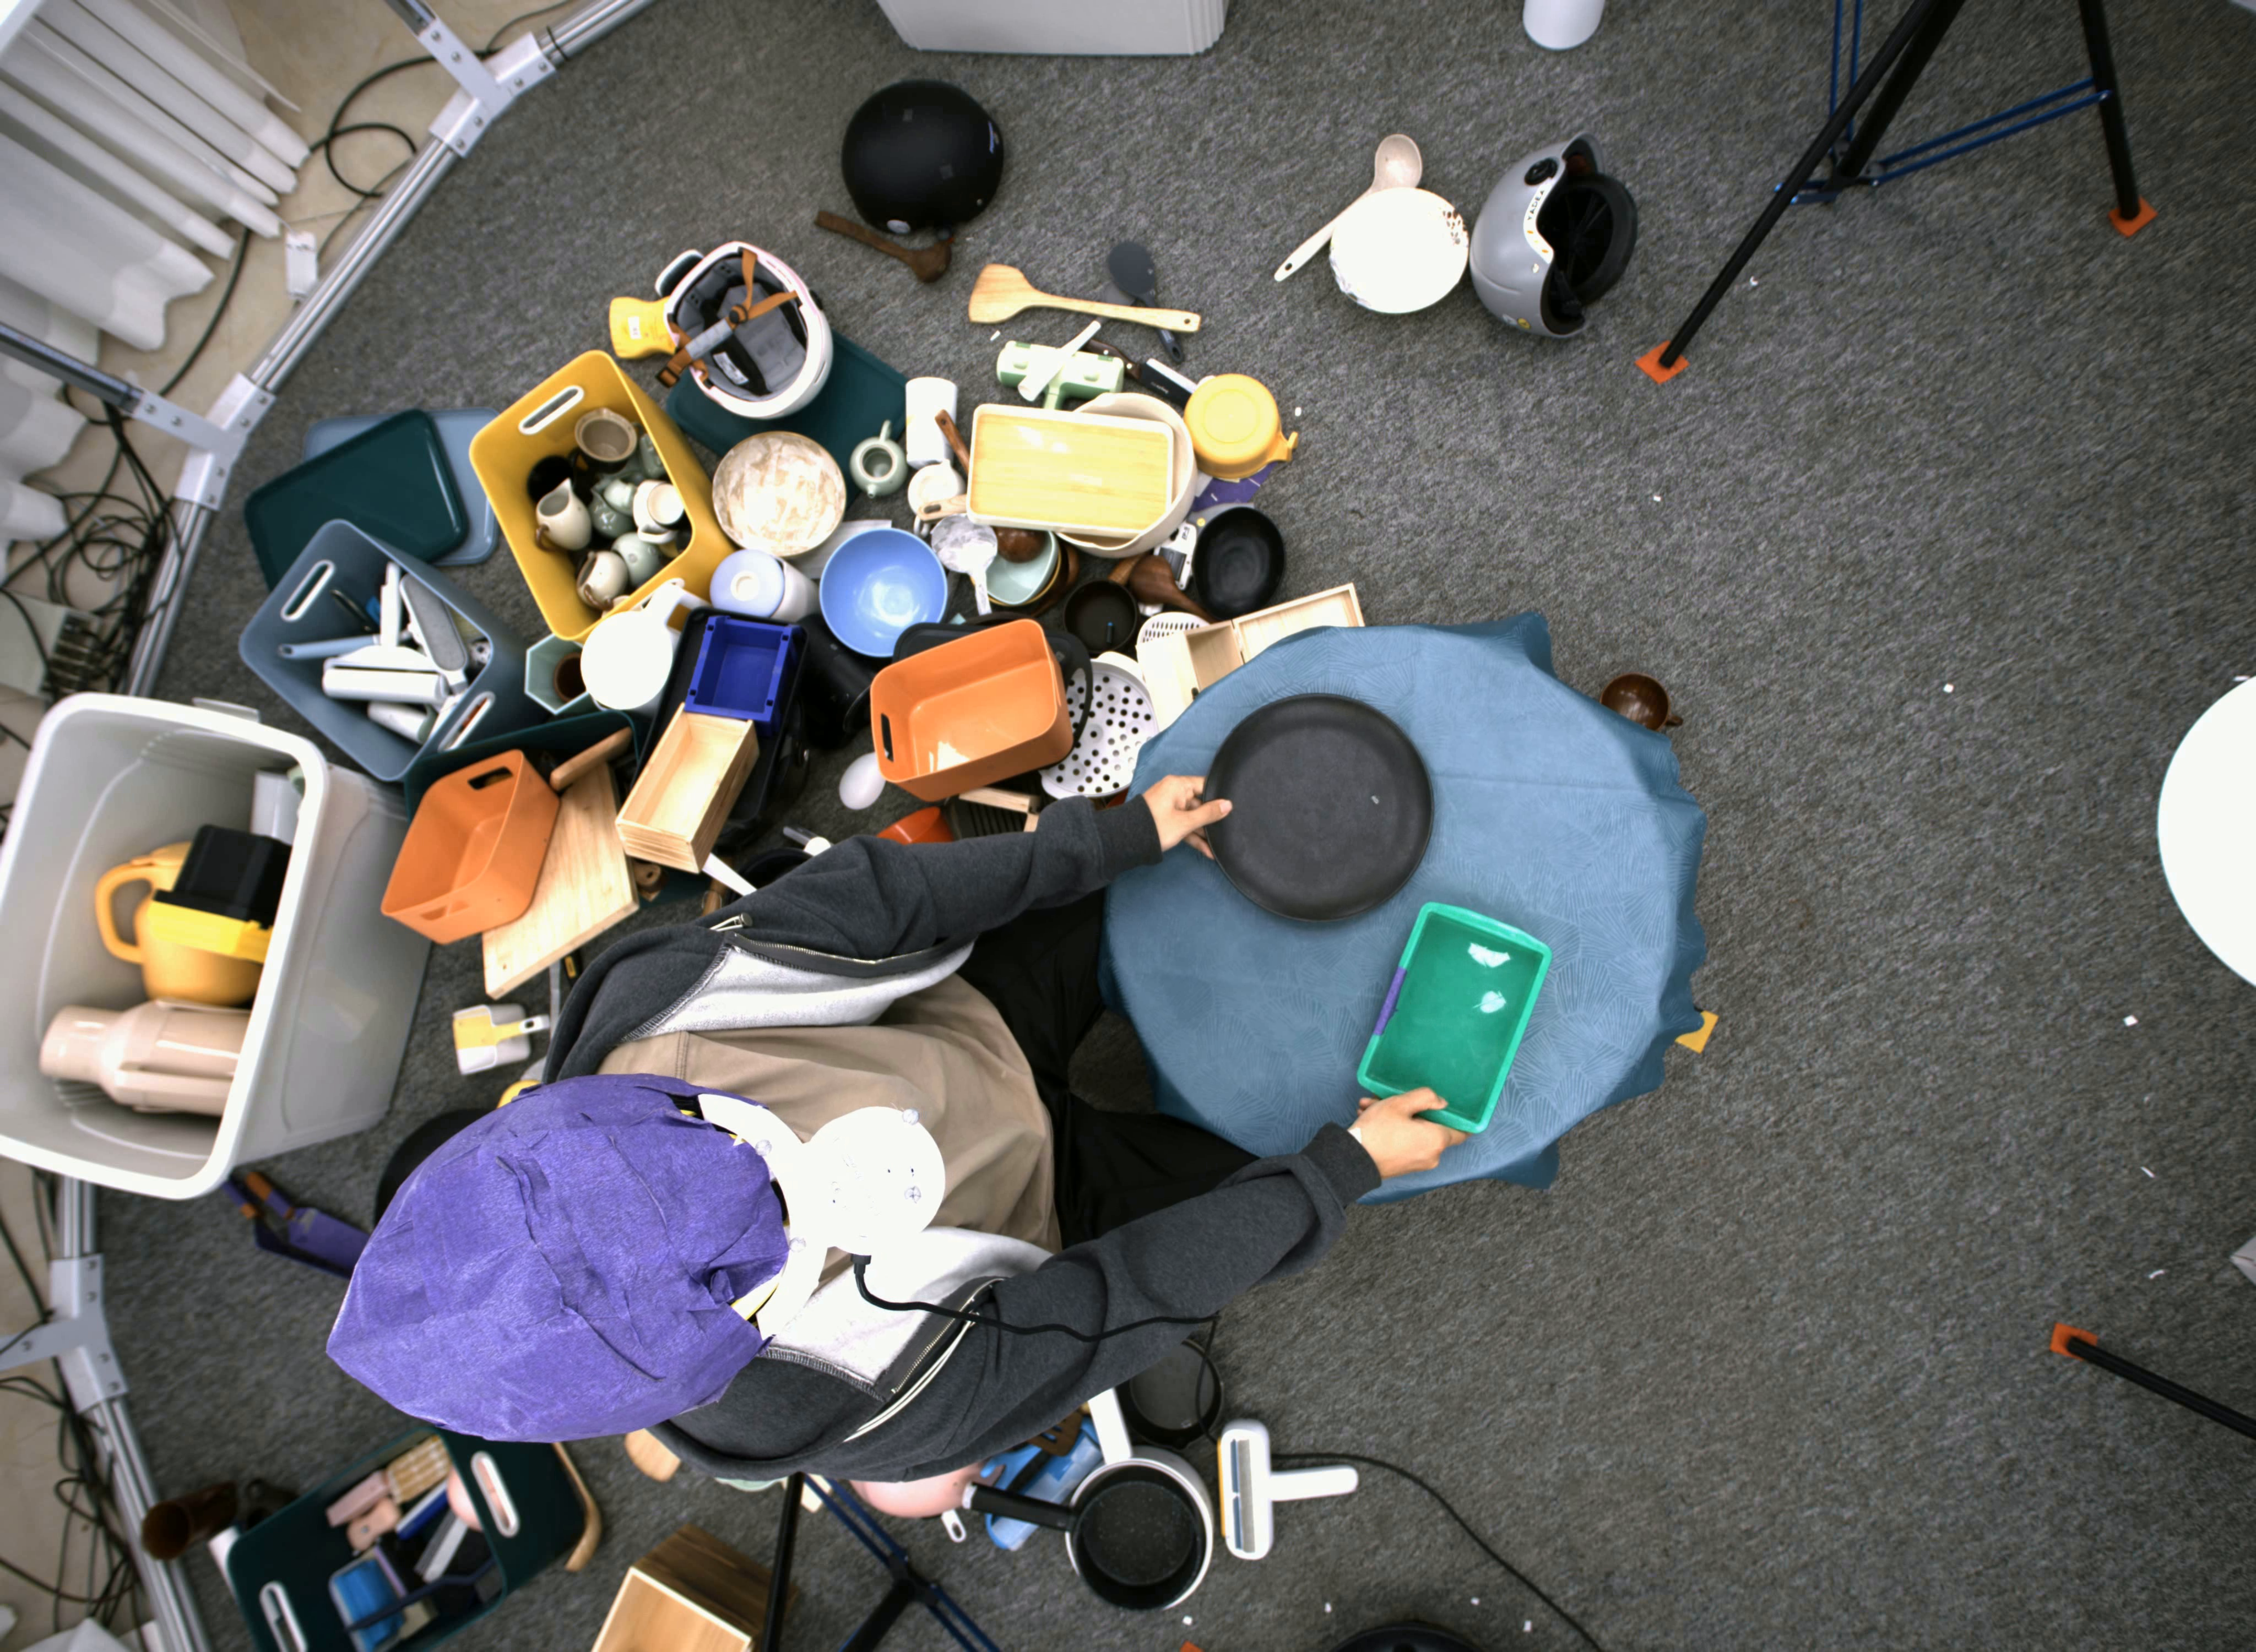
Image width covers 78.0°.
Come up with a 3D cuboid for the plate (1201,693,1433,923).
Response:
[{"bbox_3d":[0.198,-0.020,1.457,0.245,0.023,0.243,0,87,4],"label":"plate"}]

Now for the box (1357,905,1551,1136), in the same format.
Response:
[{"bbox_3d":[0.331,0.194,1.403,0.138,0.065,0.211,21,92,16],"label":"box"}]
